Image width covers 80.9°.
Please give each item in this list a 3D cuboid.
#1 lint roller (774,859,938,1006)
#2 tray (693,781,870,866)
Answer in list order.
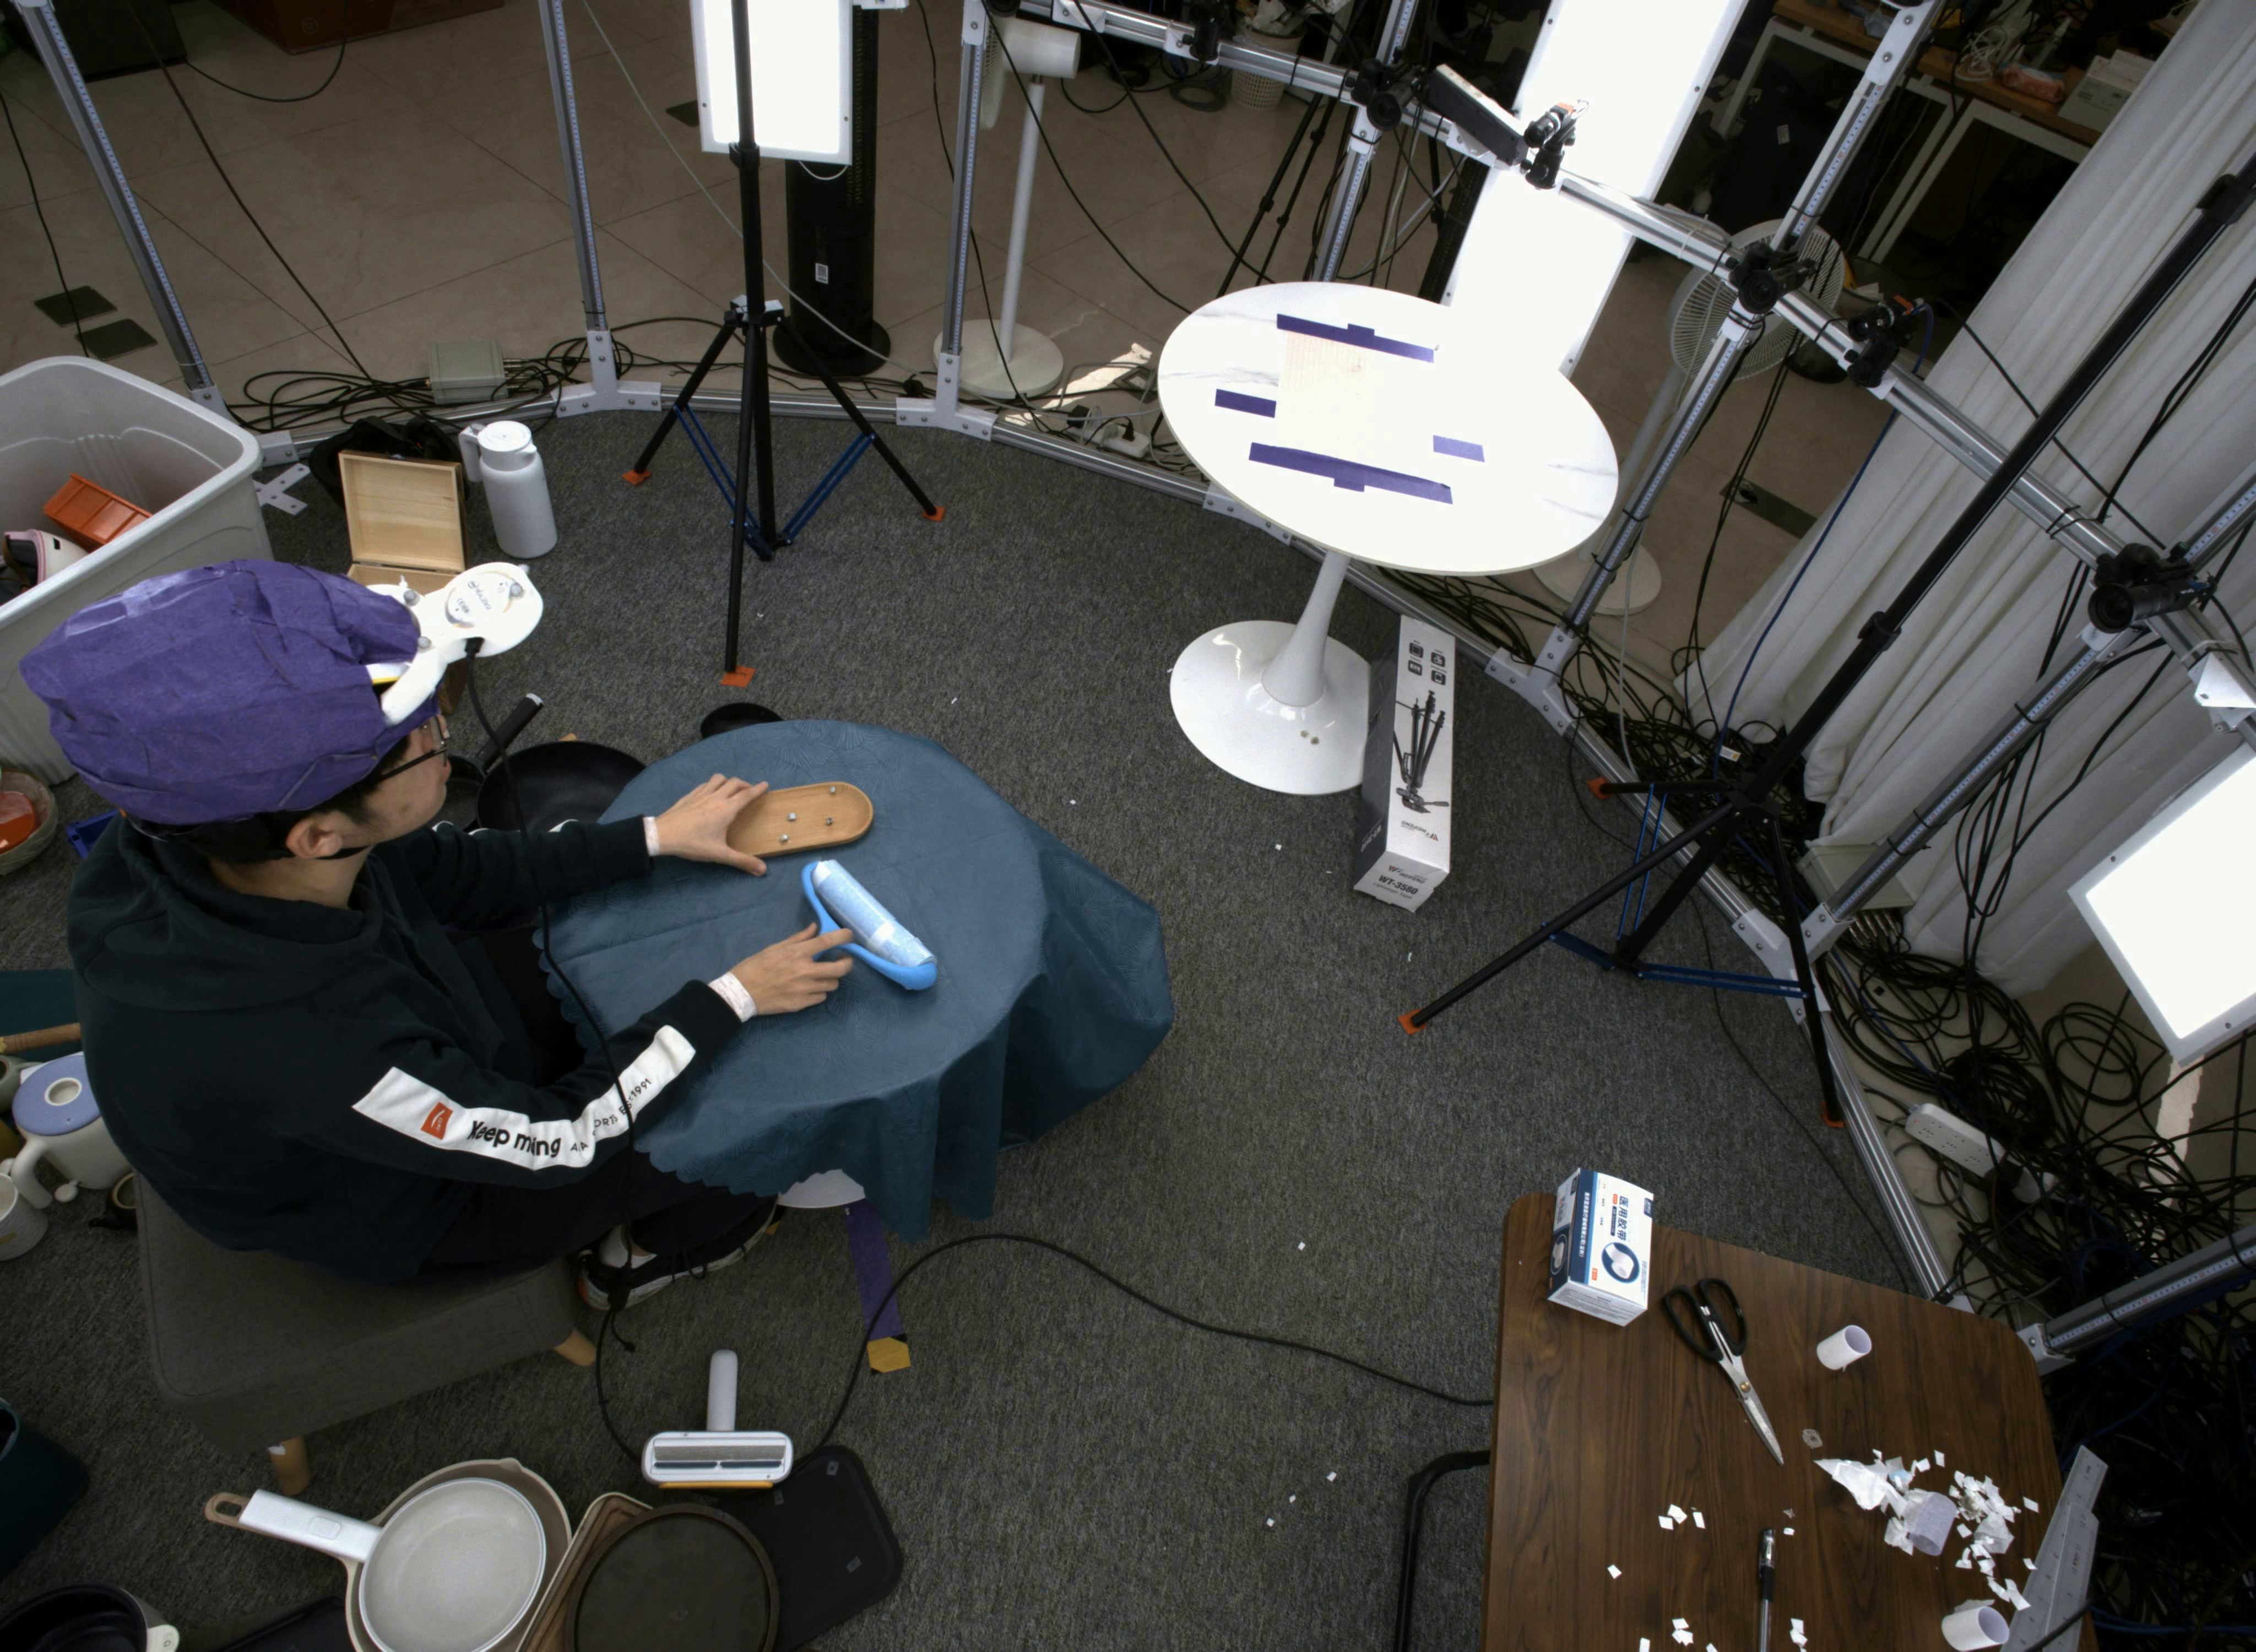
[{"bbox_3d":[-0.361,0.149,1.599,0.224,0.069,0.180,39,54,14],"label":"lint roller"},{"bbox_3d":[-0.457,-0.004,1.714,0.232,0.021,0.099,-13,57,-21],"label":"tray"}]
